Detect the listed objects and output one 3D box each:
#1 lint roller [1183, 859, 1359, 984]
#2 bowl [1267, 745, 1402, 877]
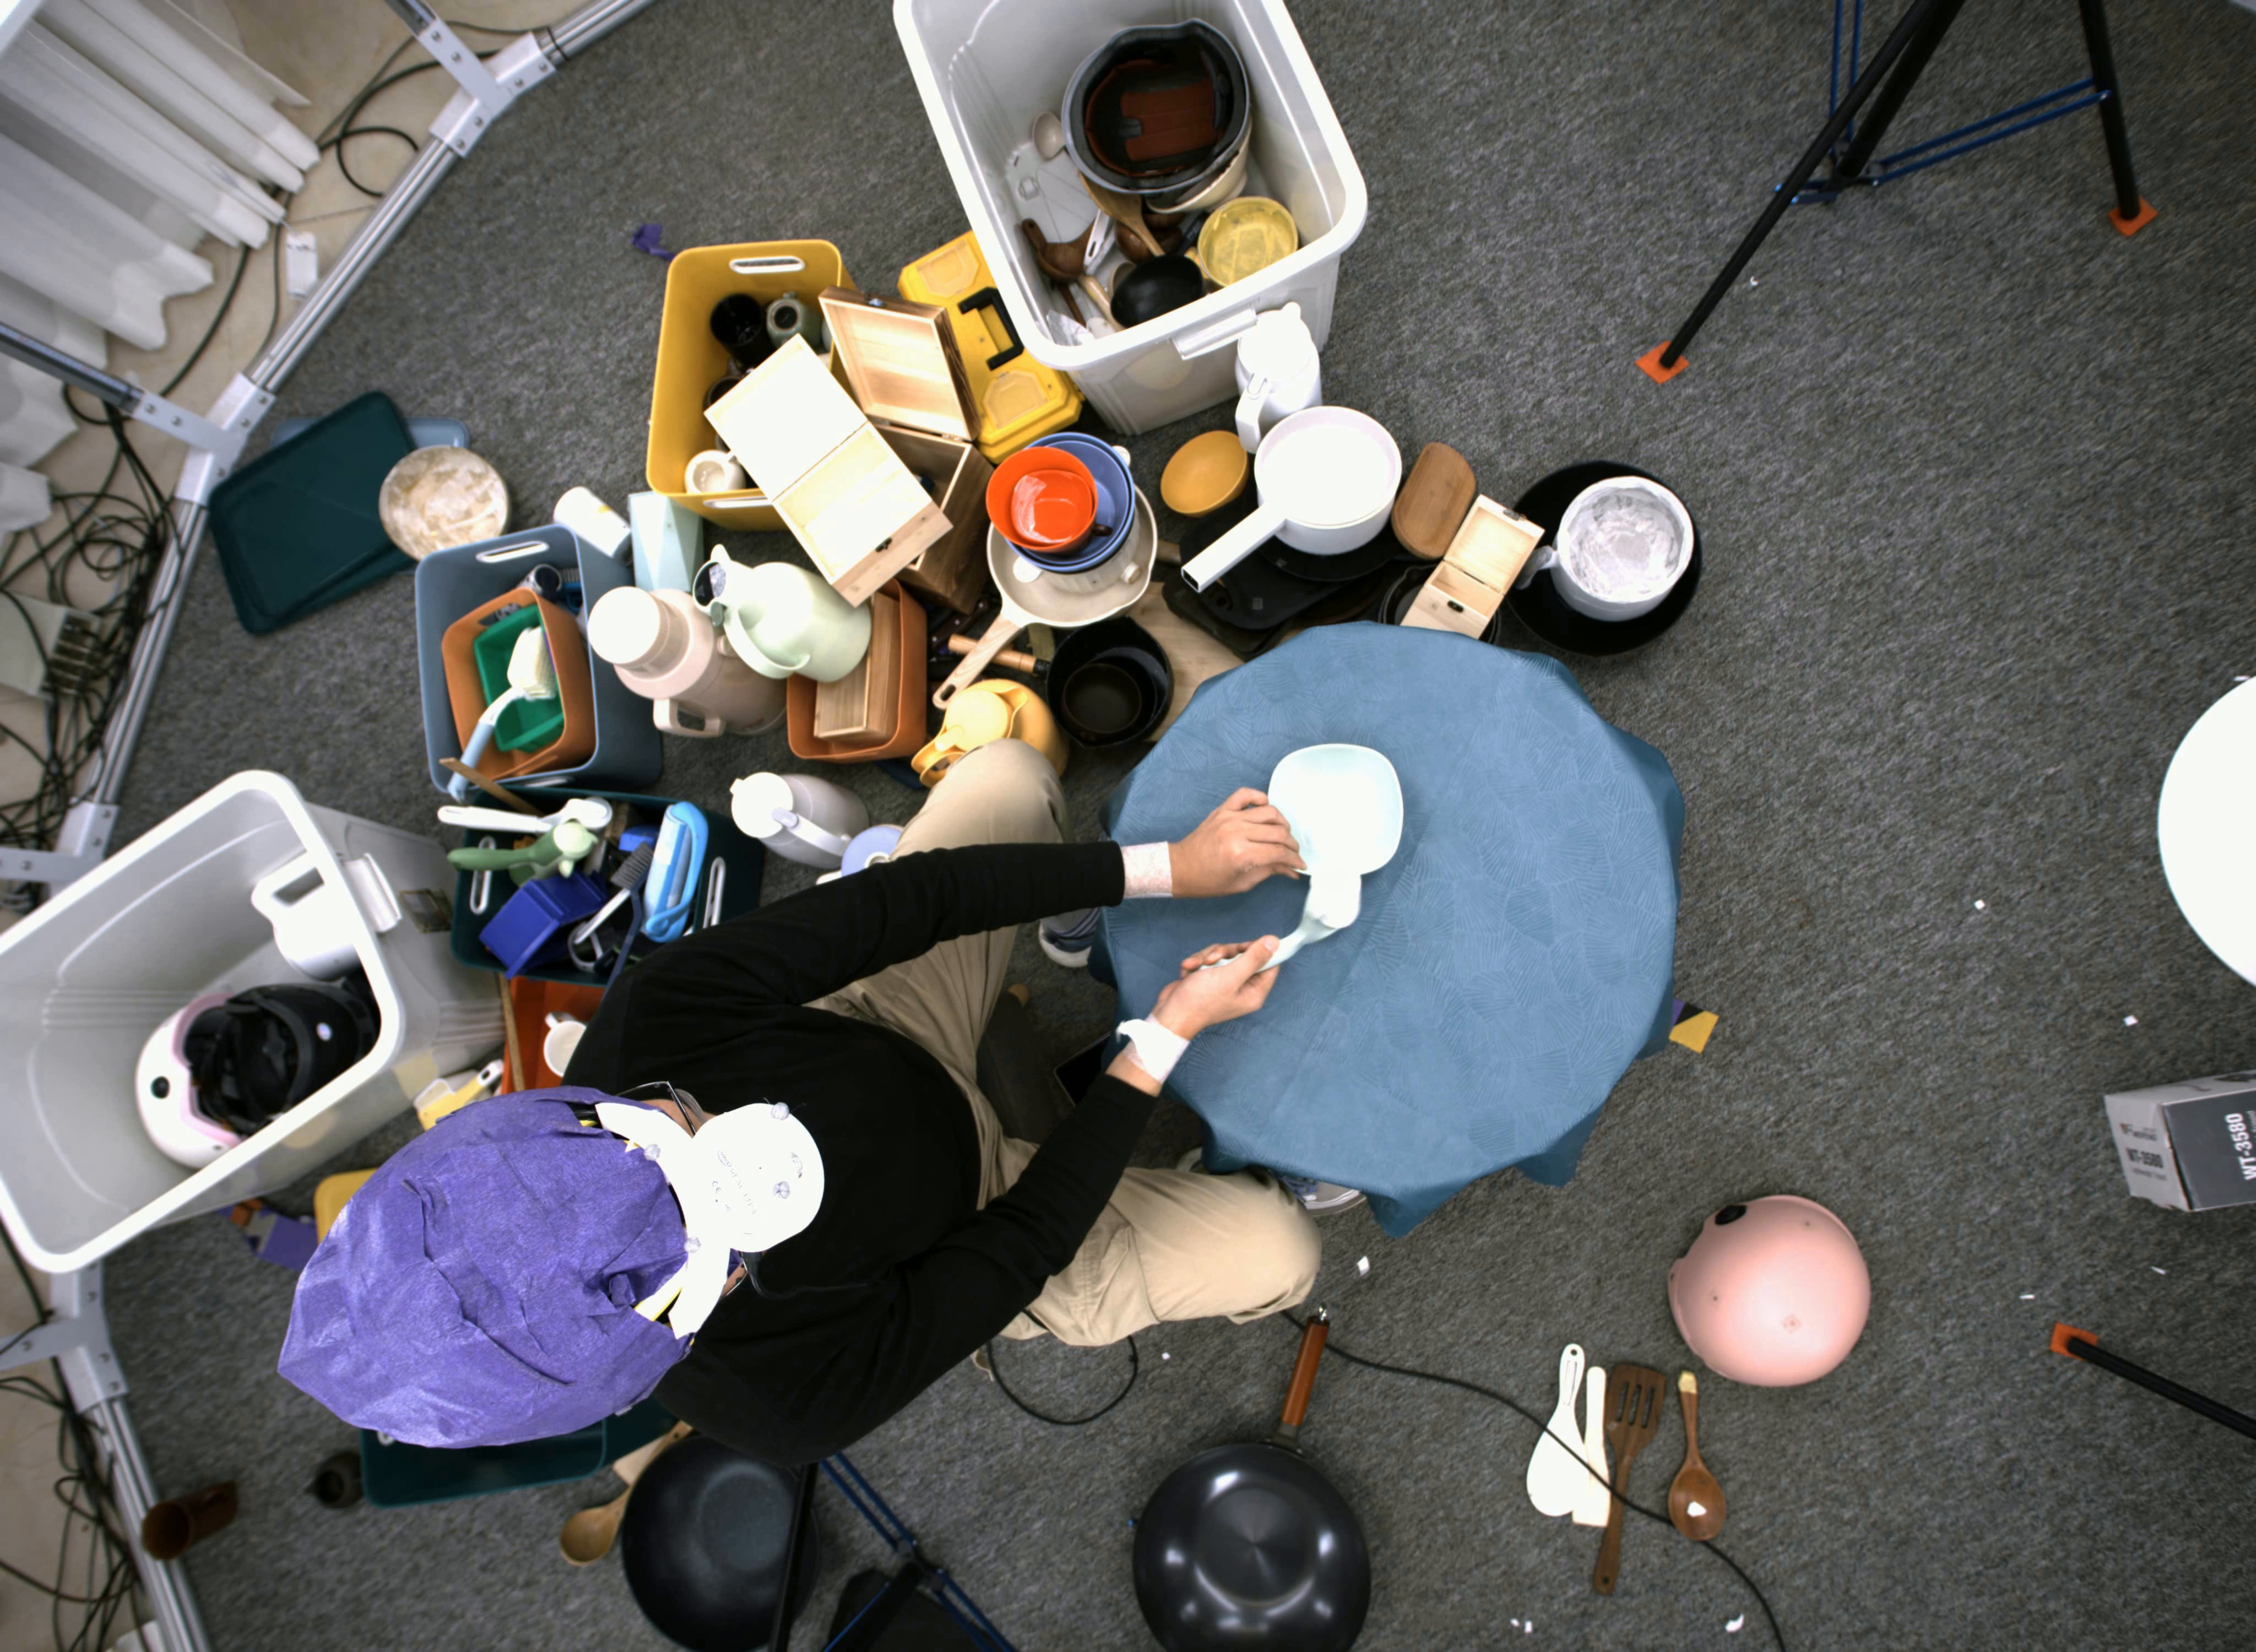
[{"bbox_3d":[0.145,0.108,1.385,0.198,0.118,0.048,-35,72,0],"label":"lint roller"},{"bbox_3d":[0.216,-0.013,1.446,0.152,0.059,0.150,-1,85,10],"label":"bowl"}]
